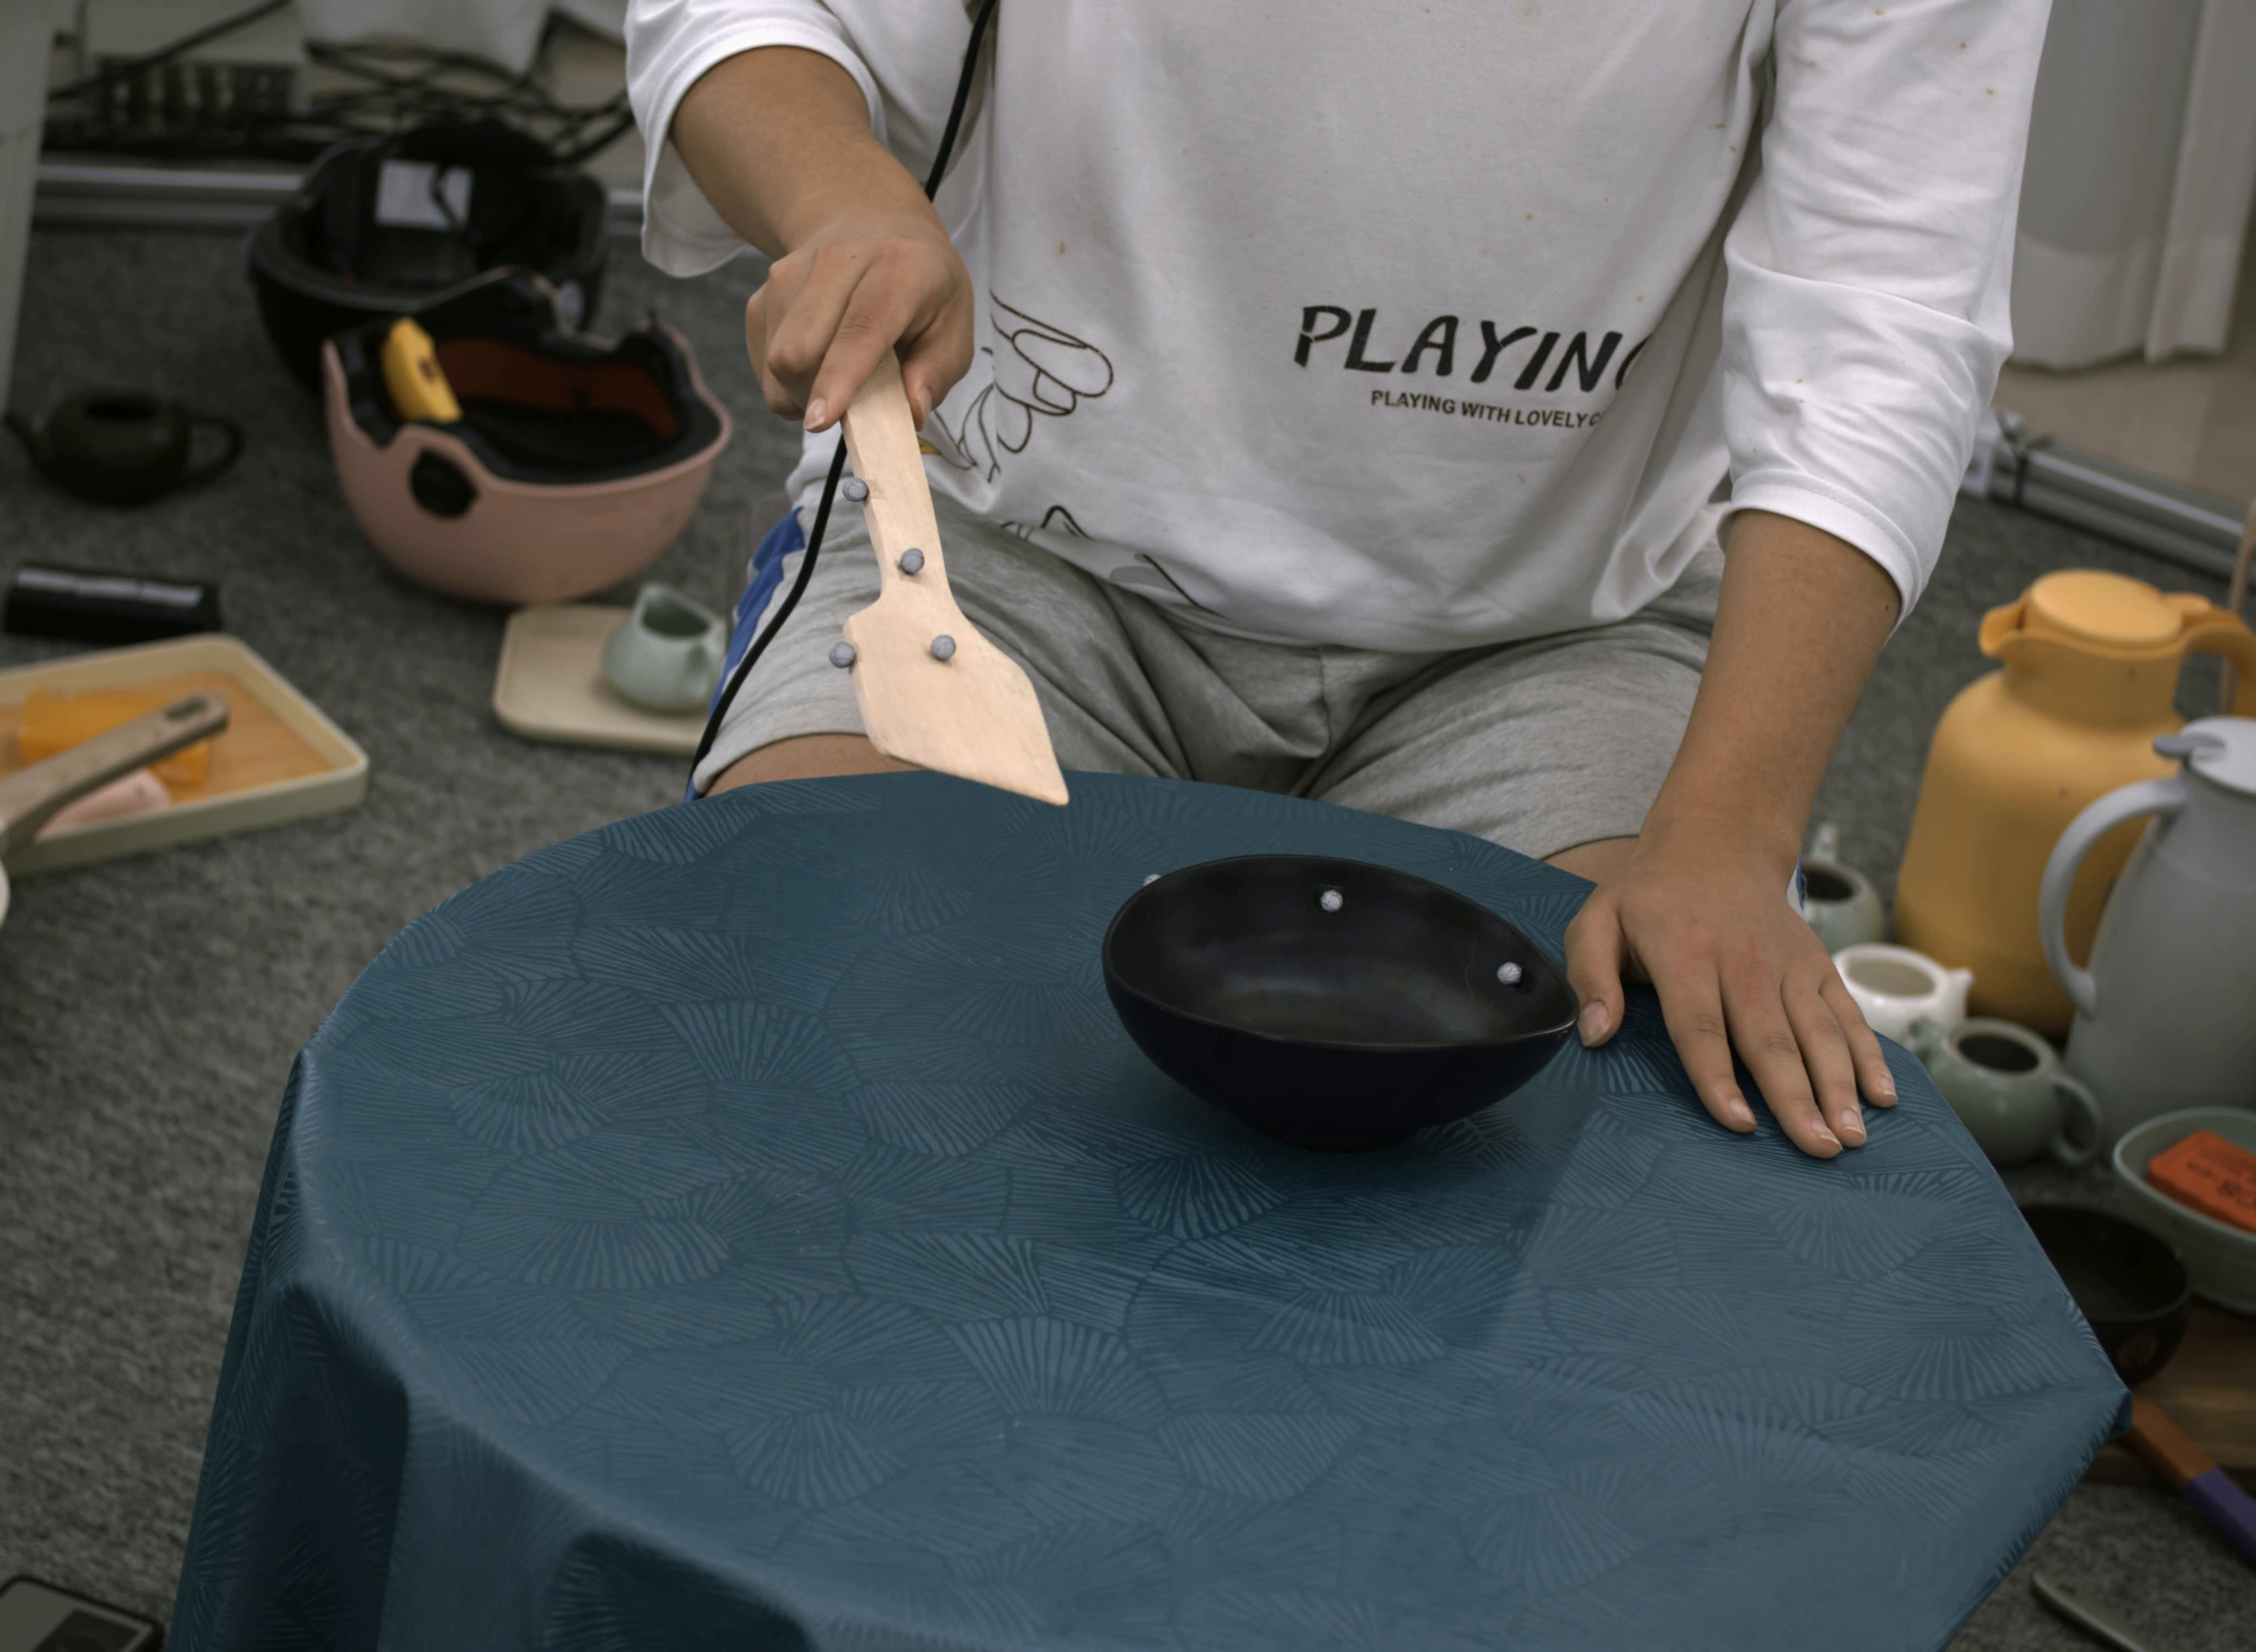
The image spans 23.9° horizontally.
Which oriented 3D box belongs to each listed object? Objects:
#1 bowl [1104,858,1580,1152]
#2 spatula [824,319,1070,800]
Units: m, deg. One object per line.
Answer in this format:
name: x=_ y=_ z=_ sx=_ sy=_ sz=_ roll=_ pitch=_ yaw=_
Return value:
bowl: x=0.071 y=0.069 z=1.860 sx=0.169 sy=0.066 sz=0.138 roll=3 pitch=26 yaw=-12
spatula: x=-0.077 y=-0.100 z=1.860 sx=0.072 sy=0.010 sz=0.295 roll=15 pitch=31 yaw=-22
